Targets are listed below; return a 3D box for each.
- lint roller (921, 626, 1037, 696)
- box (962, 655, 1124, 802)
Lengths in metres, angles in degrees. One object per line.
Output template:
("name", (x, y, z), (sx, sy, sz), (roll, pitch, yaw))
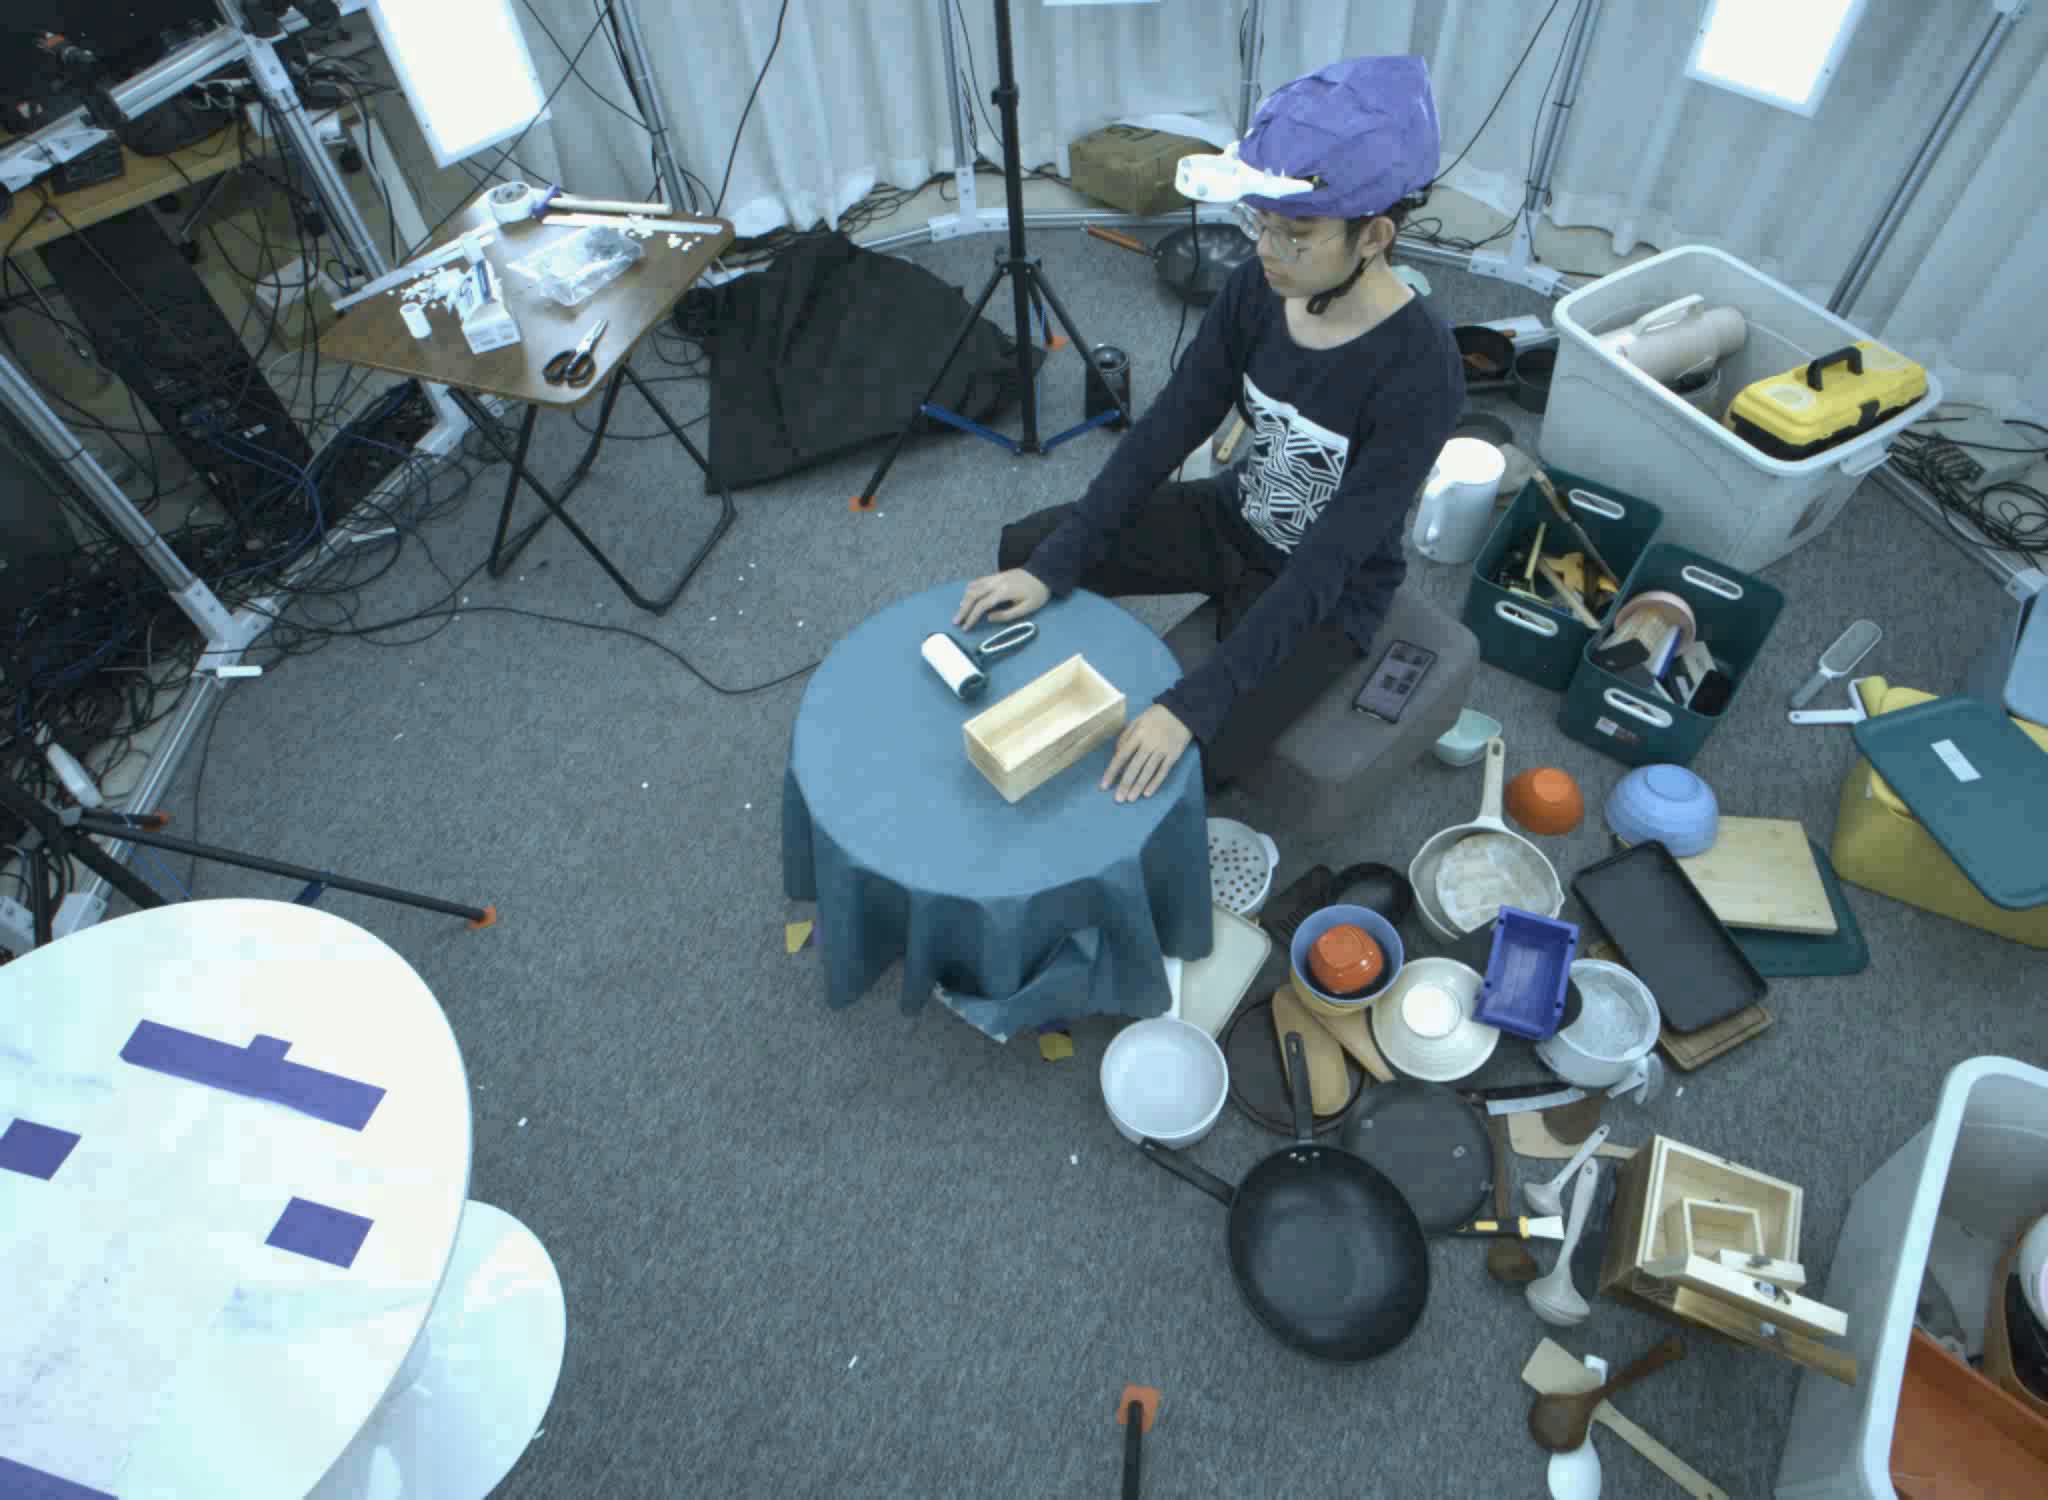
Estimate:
("lint roller", (-0.055, -0.160, 1.886), (0.182, 0.049, 0.132), (-30, 59, -22))
("box", (0.030, -0.033, 1.769), (0.213, 0.081, 0.105), (-32, 59, -22))
